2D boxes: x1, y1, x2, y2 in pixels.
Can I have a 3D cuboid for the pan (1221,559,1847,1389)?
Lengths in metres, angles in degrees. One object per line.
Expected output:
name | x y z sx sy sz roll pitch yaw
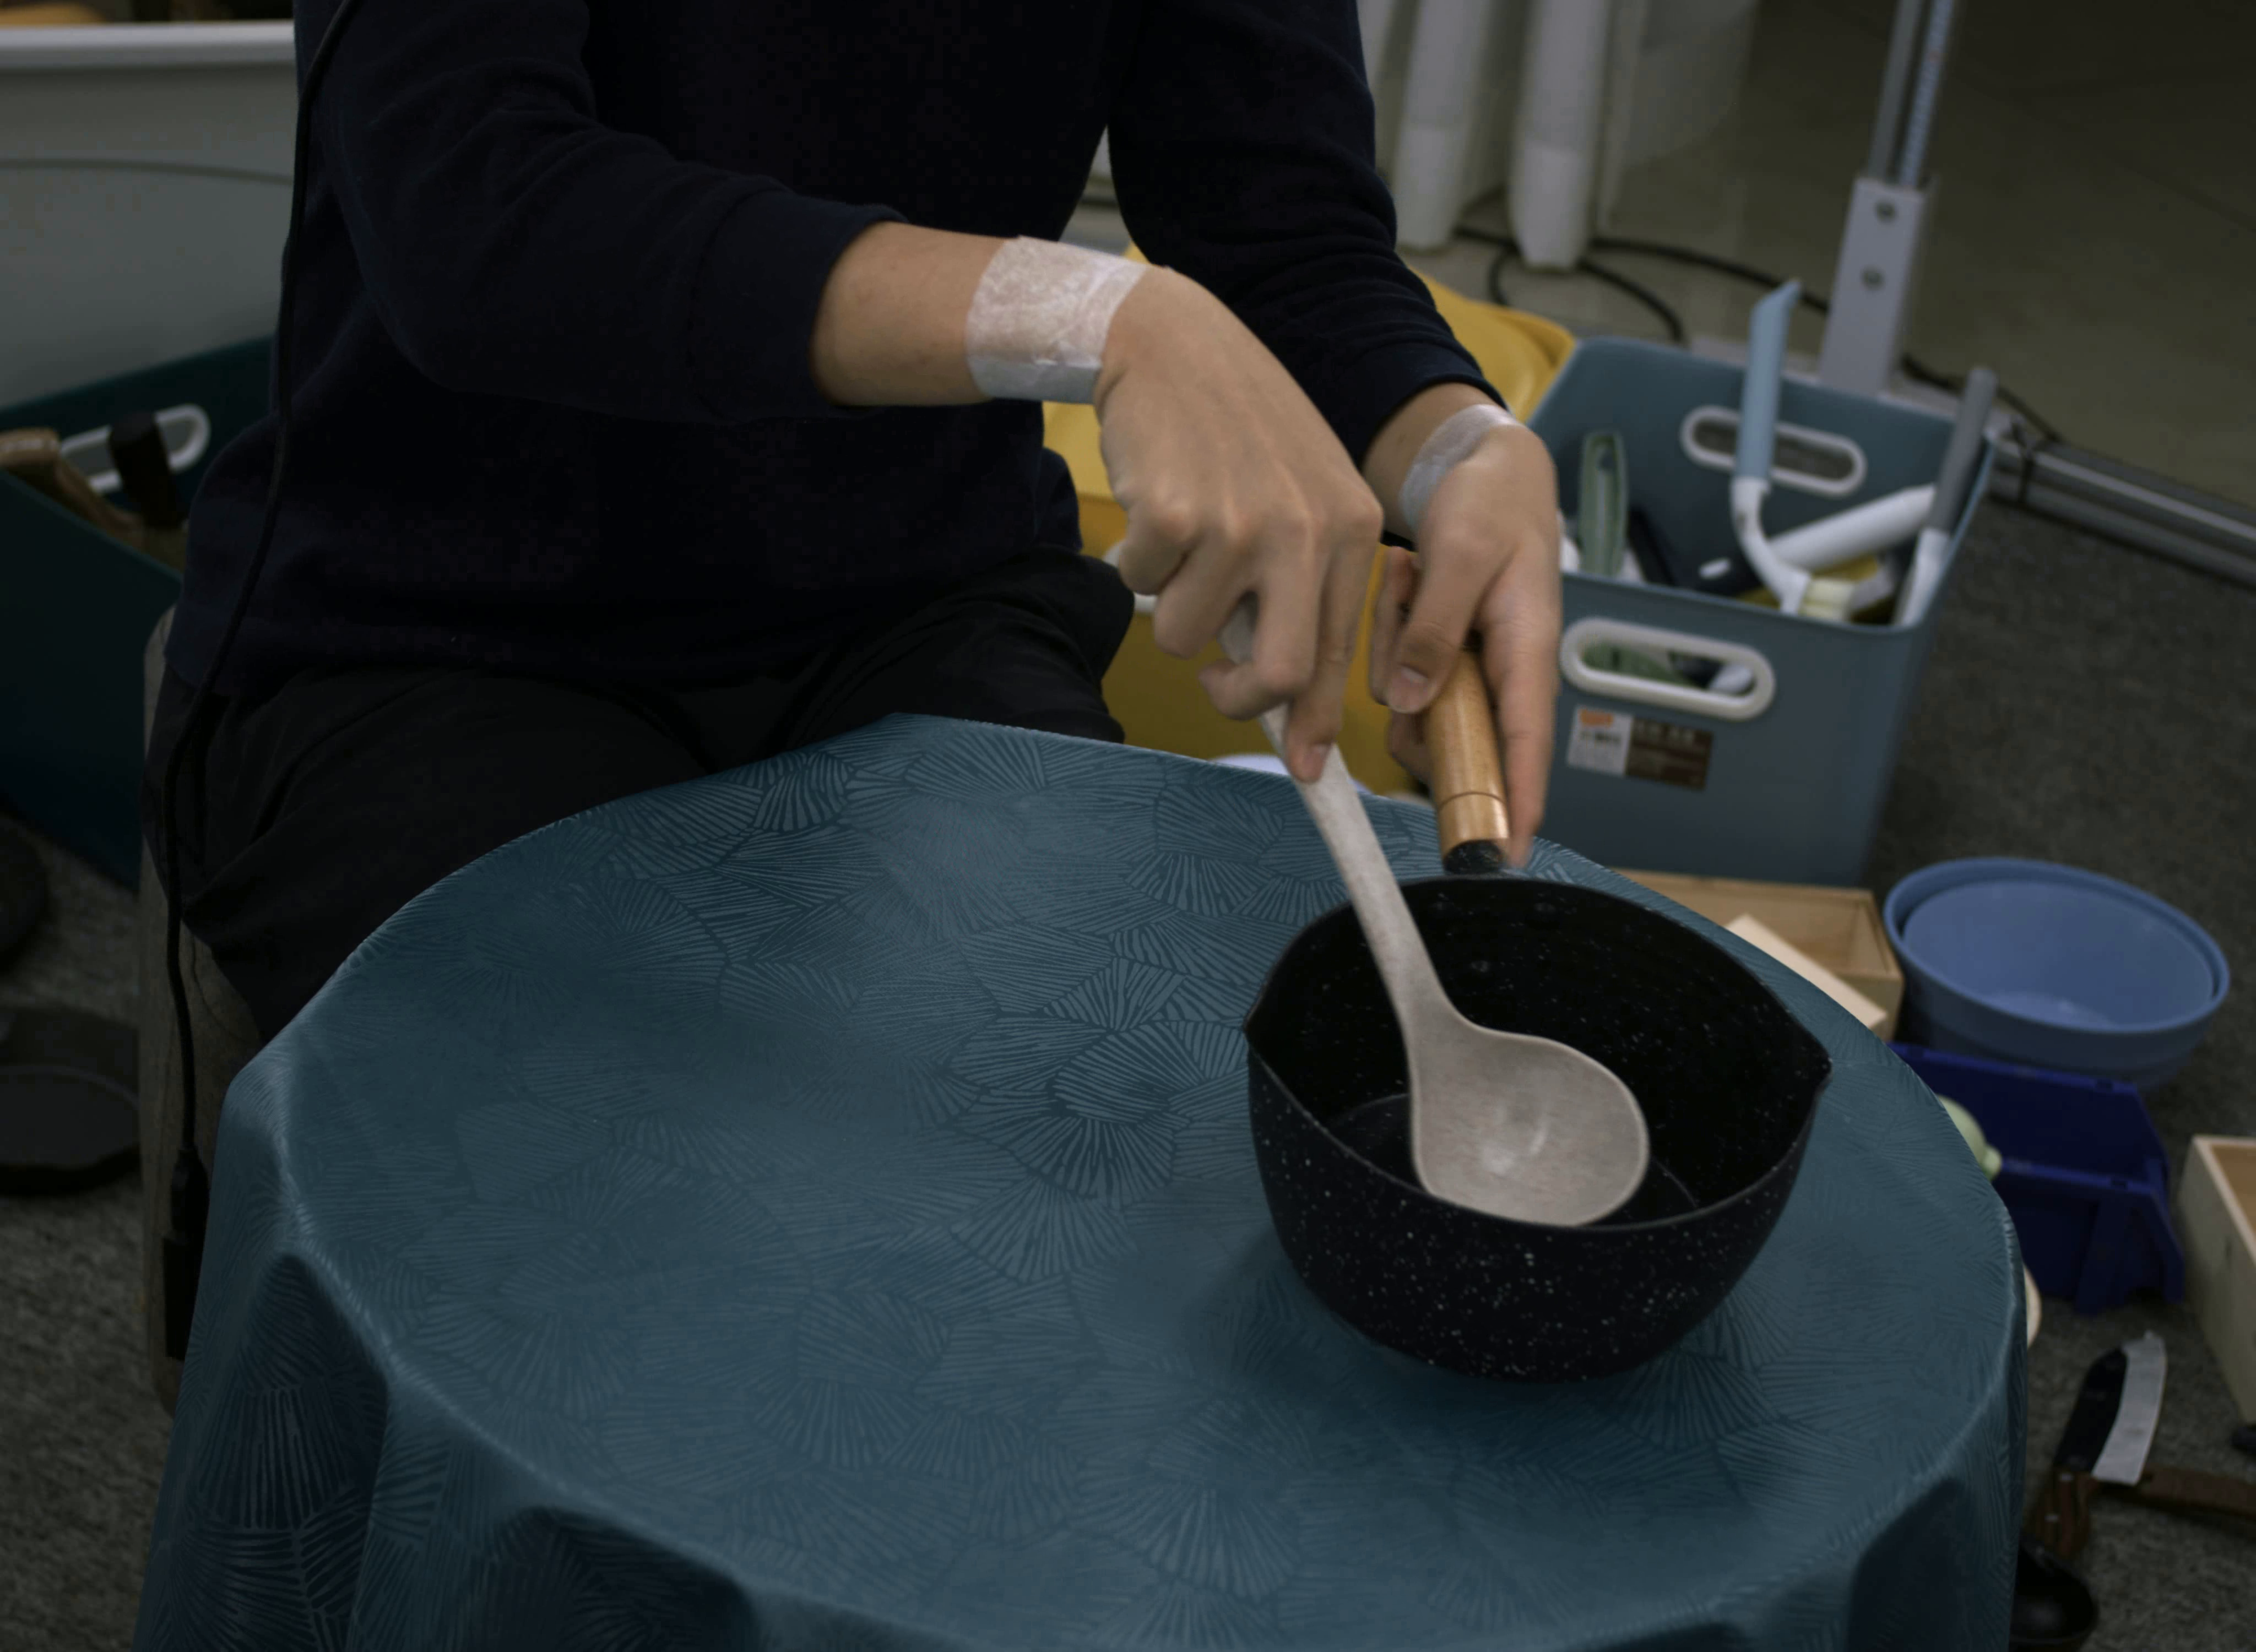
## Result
pan | 0.123 0.048 1.813 0.206 0.108 0.346 1 37 -8

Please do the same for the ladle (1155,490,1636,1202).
ladle | 0.086 0.010 1.739 0.089 0.273 0.070 -38 24 -33
